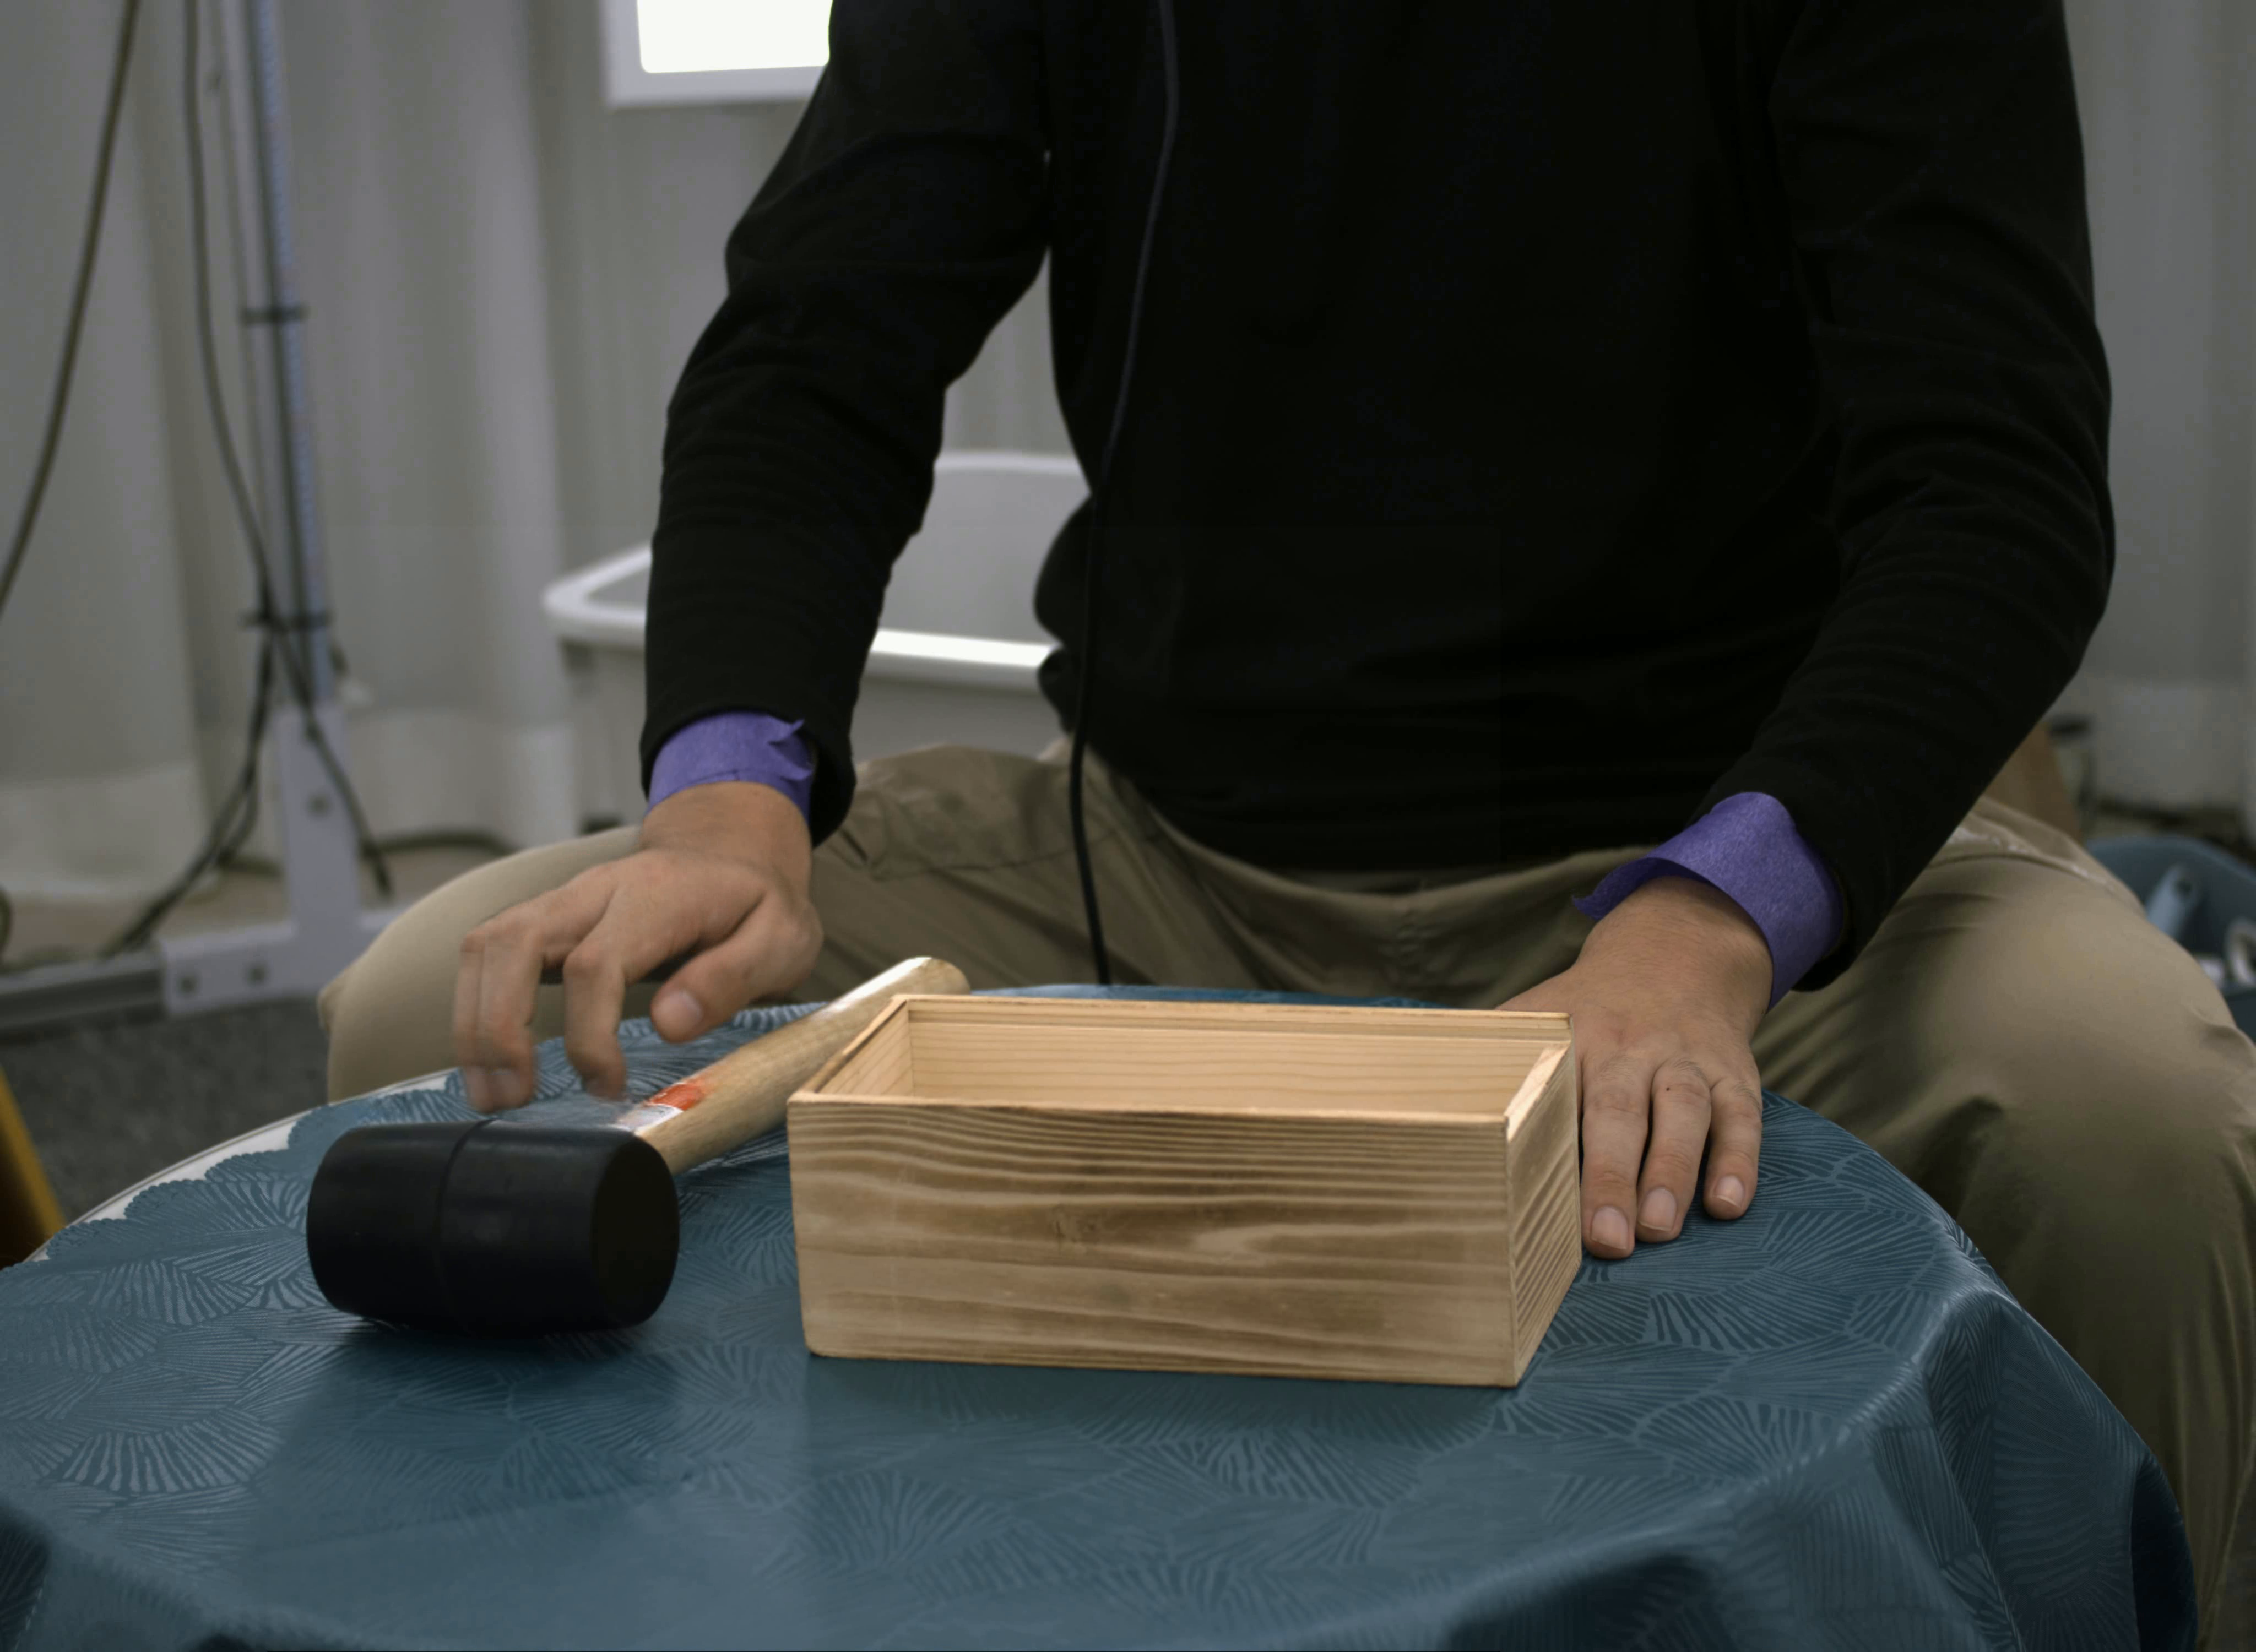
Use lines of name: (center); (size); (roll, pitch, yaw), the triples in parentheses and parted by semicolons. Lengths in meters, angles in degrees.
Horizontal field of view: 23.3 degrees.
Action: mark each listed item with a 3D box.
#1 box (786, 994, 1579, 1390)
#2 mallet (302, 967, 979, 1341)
box: (0.018, 0.105, 1.595); (0.211, 0.080, 0.108); (1, 14, 15)
mallet: (-0.134, 0.086, 1.734); (0.102, 0.064, 0.339); (4, 16, 23)
